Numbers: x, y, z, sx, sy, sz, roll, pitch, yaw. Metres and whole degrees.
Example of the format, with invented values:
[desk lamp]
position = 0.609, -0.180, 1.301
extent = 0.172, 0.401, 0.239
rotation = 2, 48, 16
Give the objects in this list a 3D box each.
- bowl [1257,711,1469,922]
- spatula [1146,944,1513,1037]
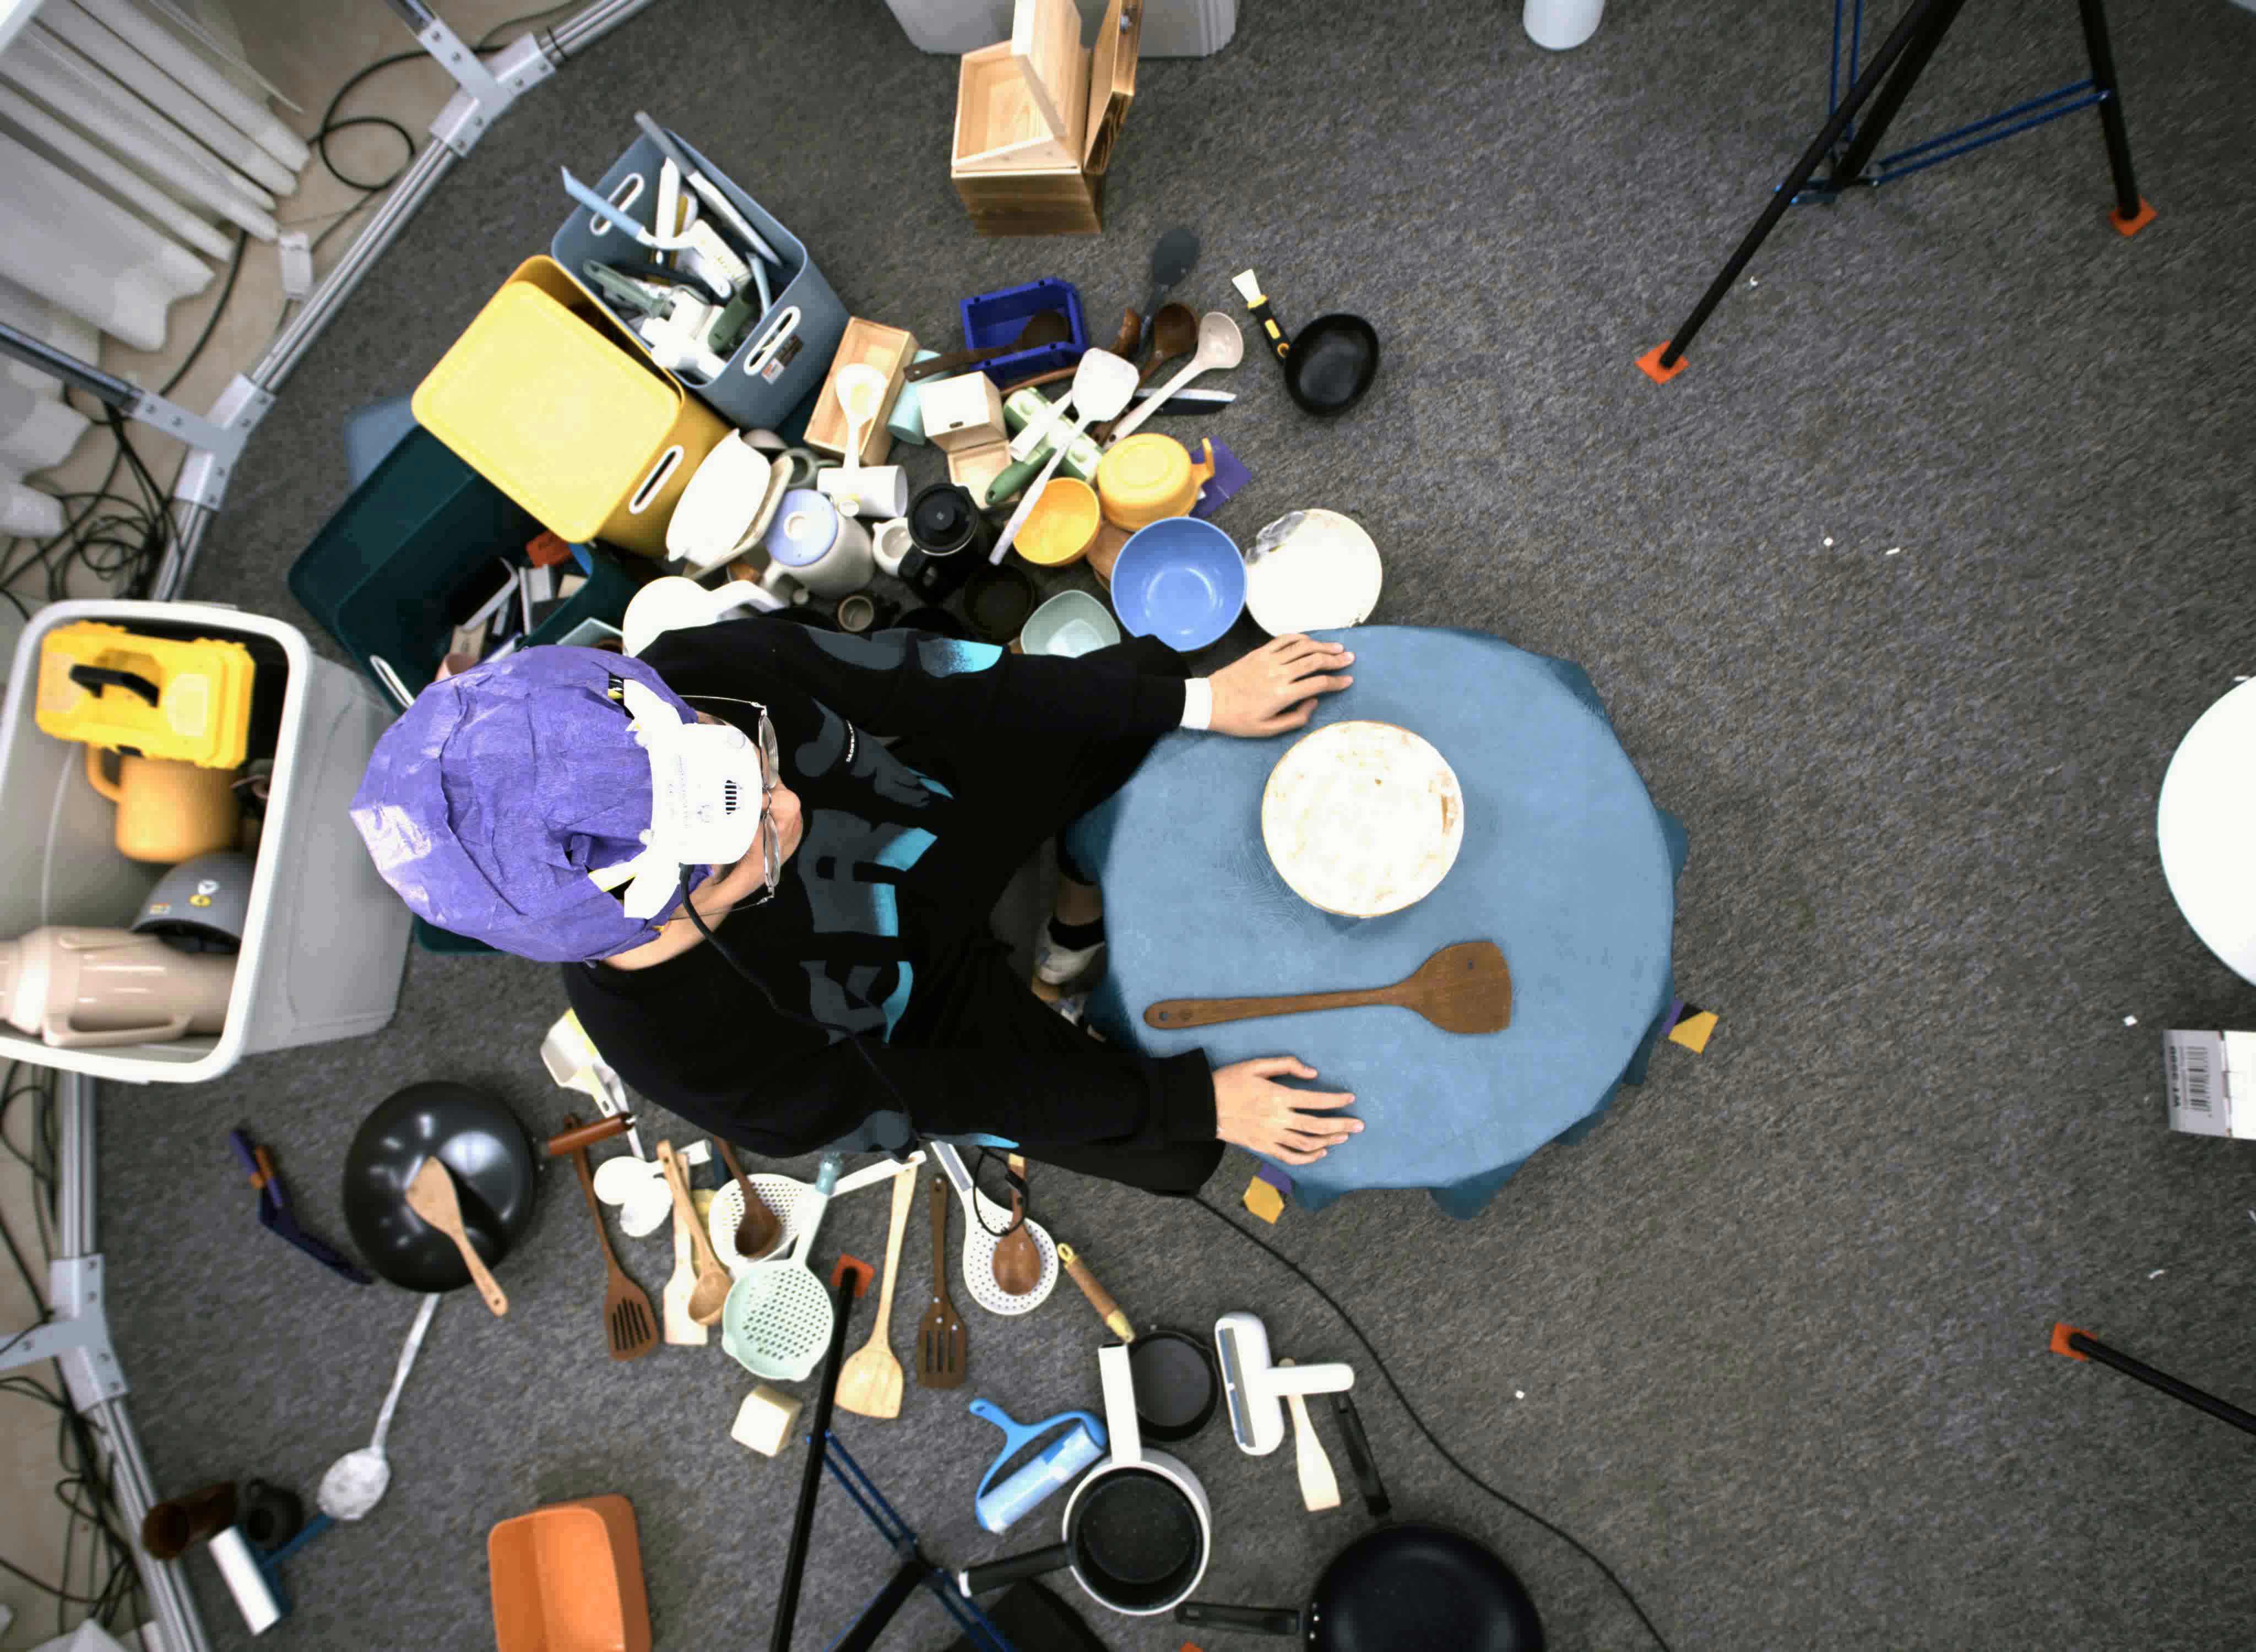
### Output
[bowl]
position = 0.242, -0.006, 1.427
extent = 0.215, 0.094, 0.214
rotation = -1, 87, 11
[spatula]
position = 0.208, 0.187, 1.461
extent = 0.388, 0.016, 0.095
rotation = -7, 84, 10
